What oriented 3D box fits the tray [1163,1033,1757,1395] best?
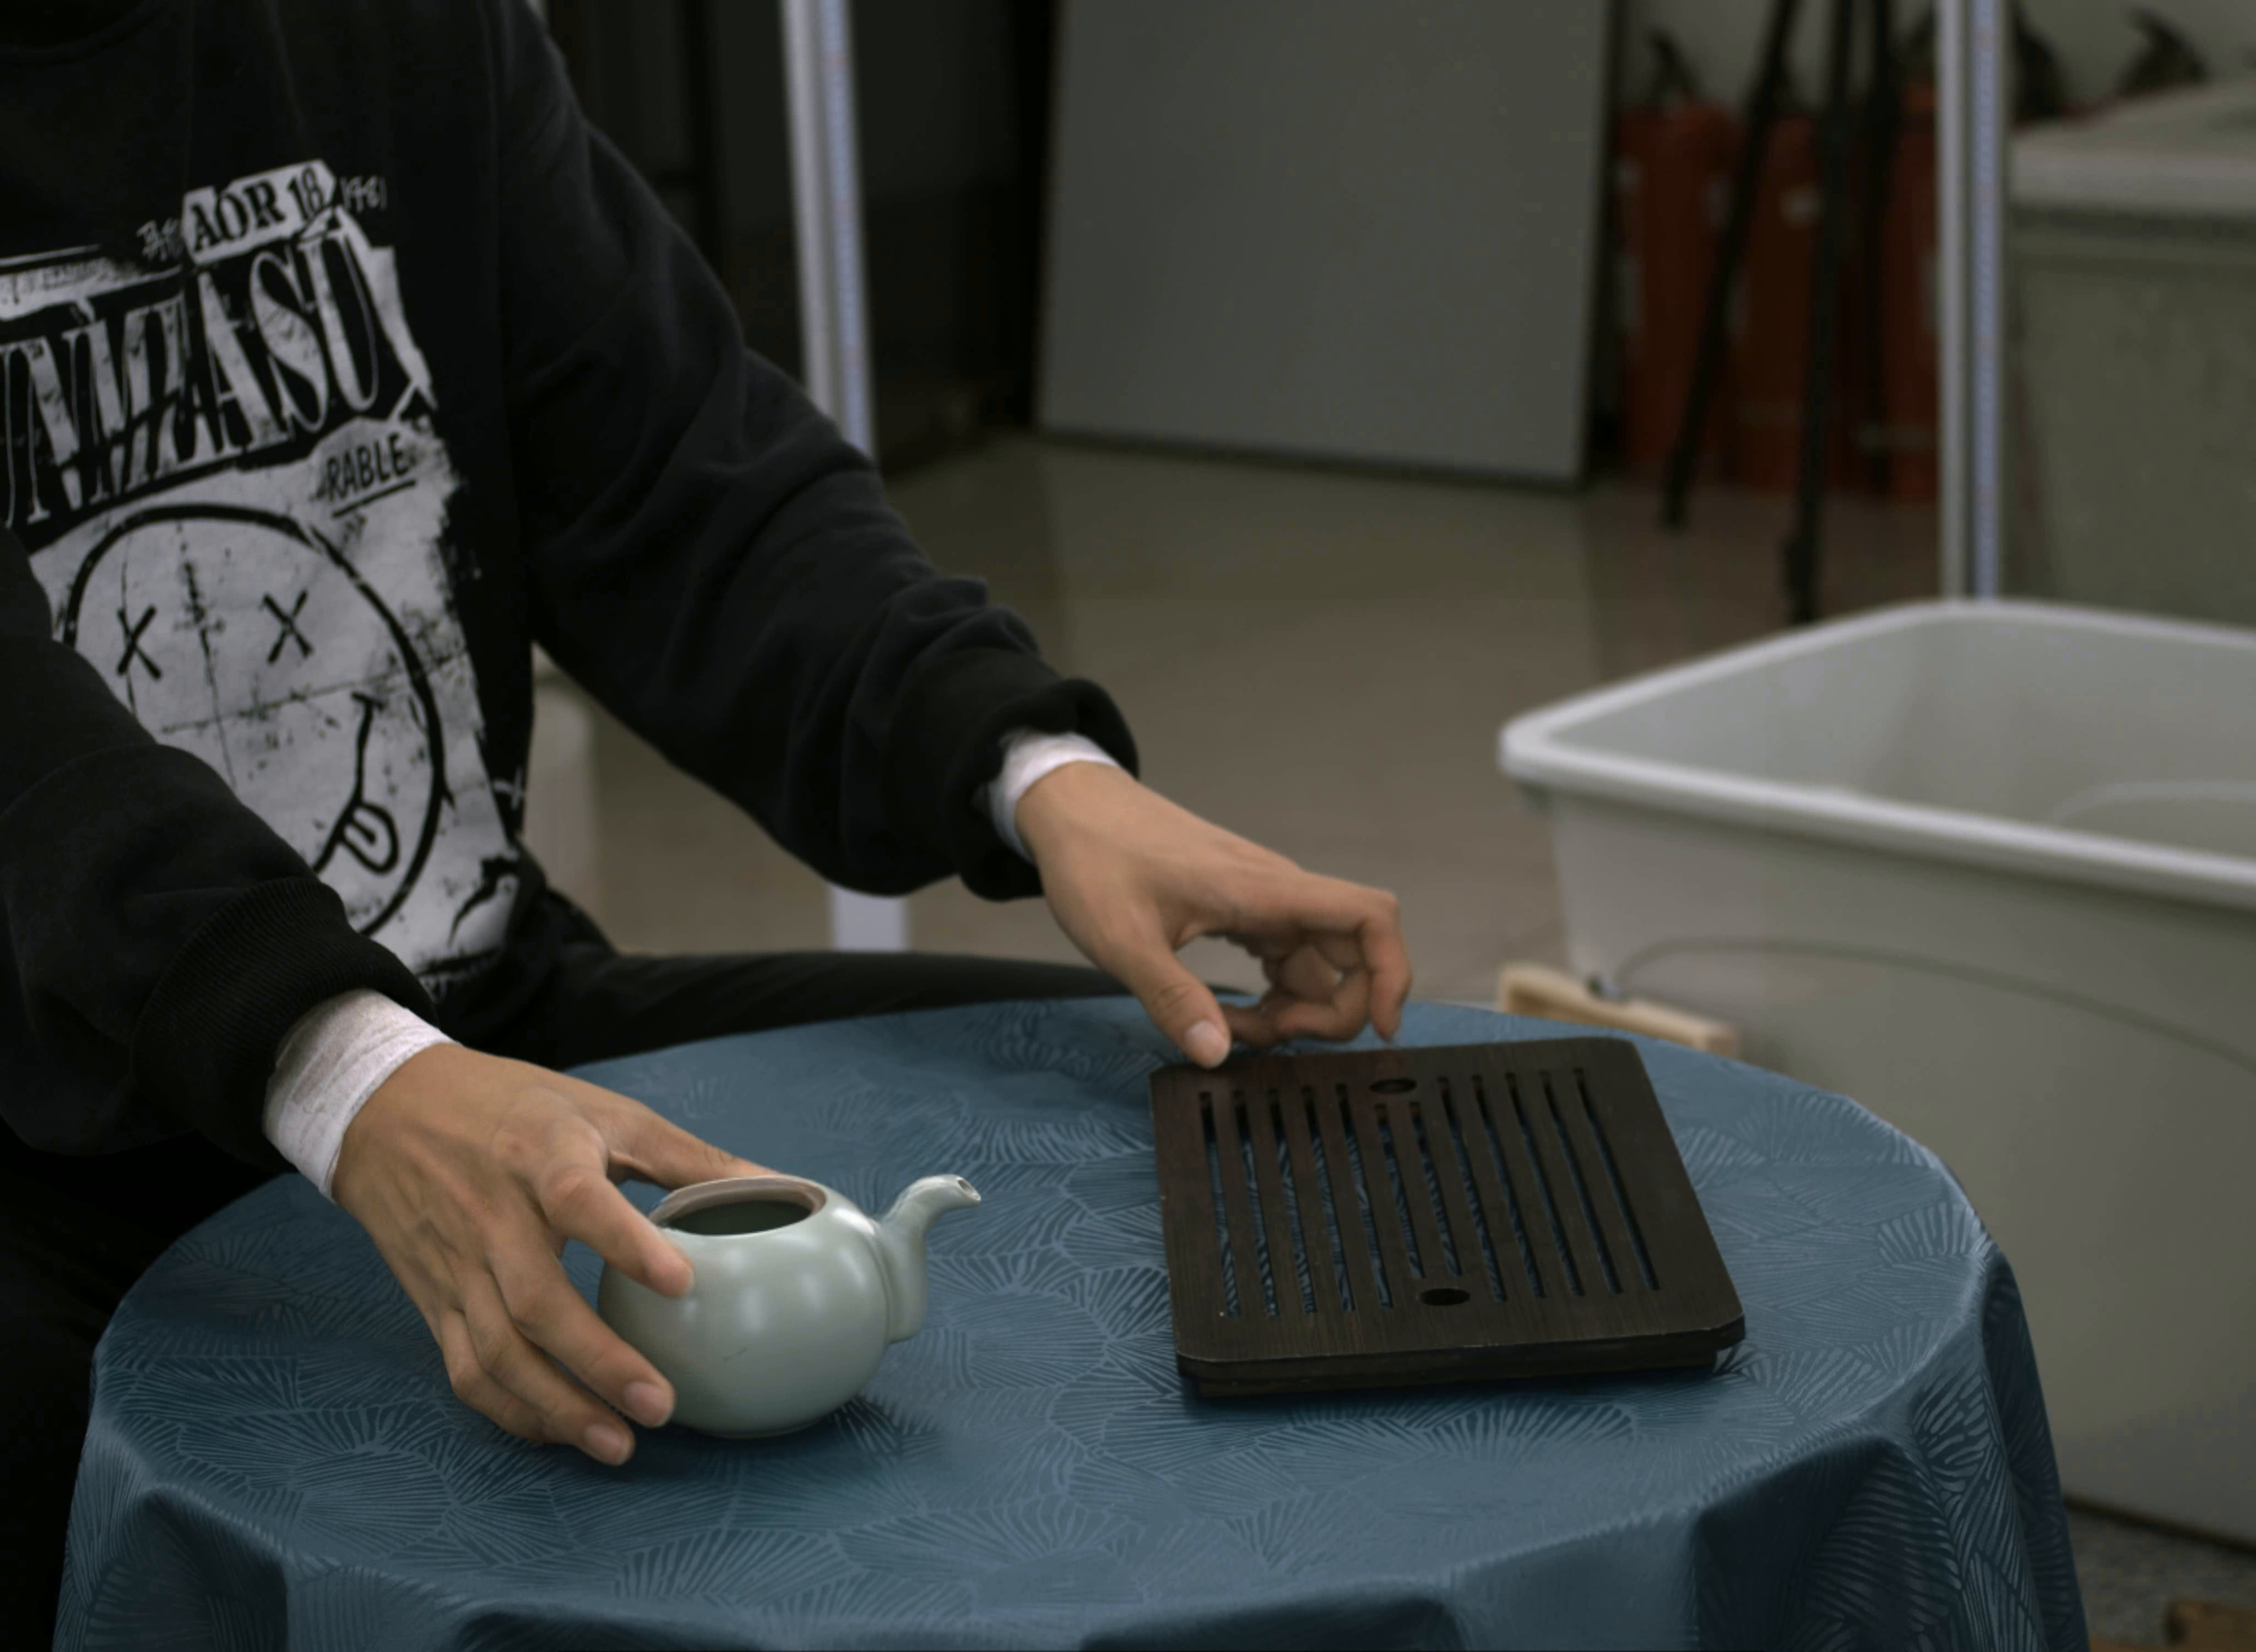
[{"bbox_3d":[0.098,0.120,1.709,0.168,0.019,0.306,-5,14,0],"label":"tray"}]

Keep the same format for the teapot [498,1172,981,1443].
[{"bbox_3d":[-0.112,0.139,1.583,0.142,0.075,0.088,-1,14,5],"label":"teapot"}]
